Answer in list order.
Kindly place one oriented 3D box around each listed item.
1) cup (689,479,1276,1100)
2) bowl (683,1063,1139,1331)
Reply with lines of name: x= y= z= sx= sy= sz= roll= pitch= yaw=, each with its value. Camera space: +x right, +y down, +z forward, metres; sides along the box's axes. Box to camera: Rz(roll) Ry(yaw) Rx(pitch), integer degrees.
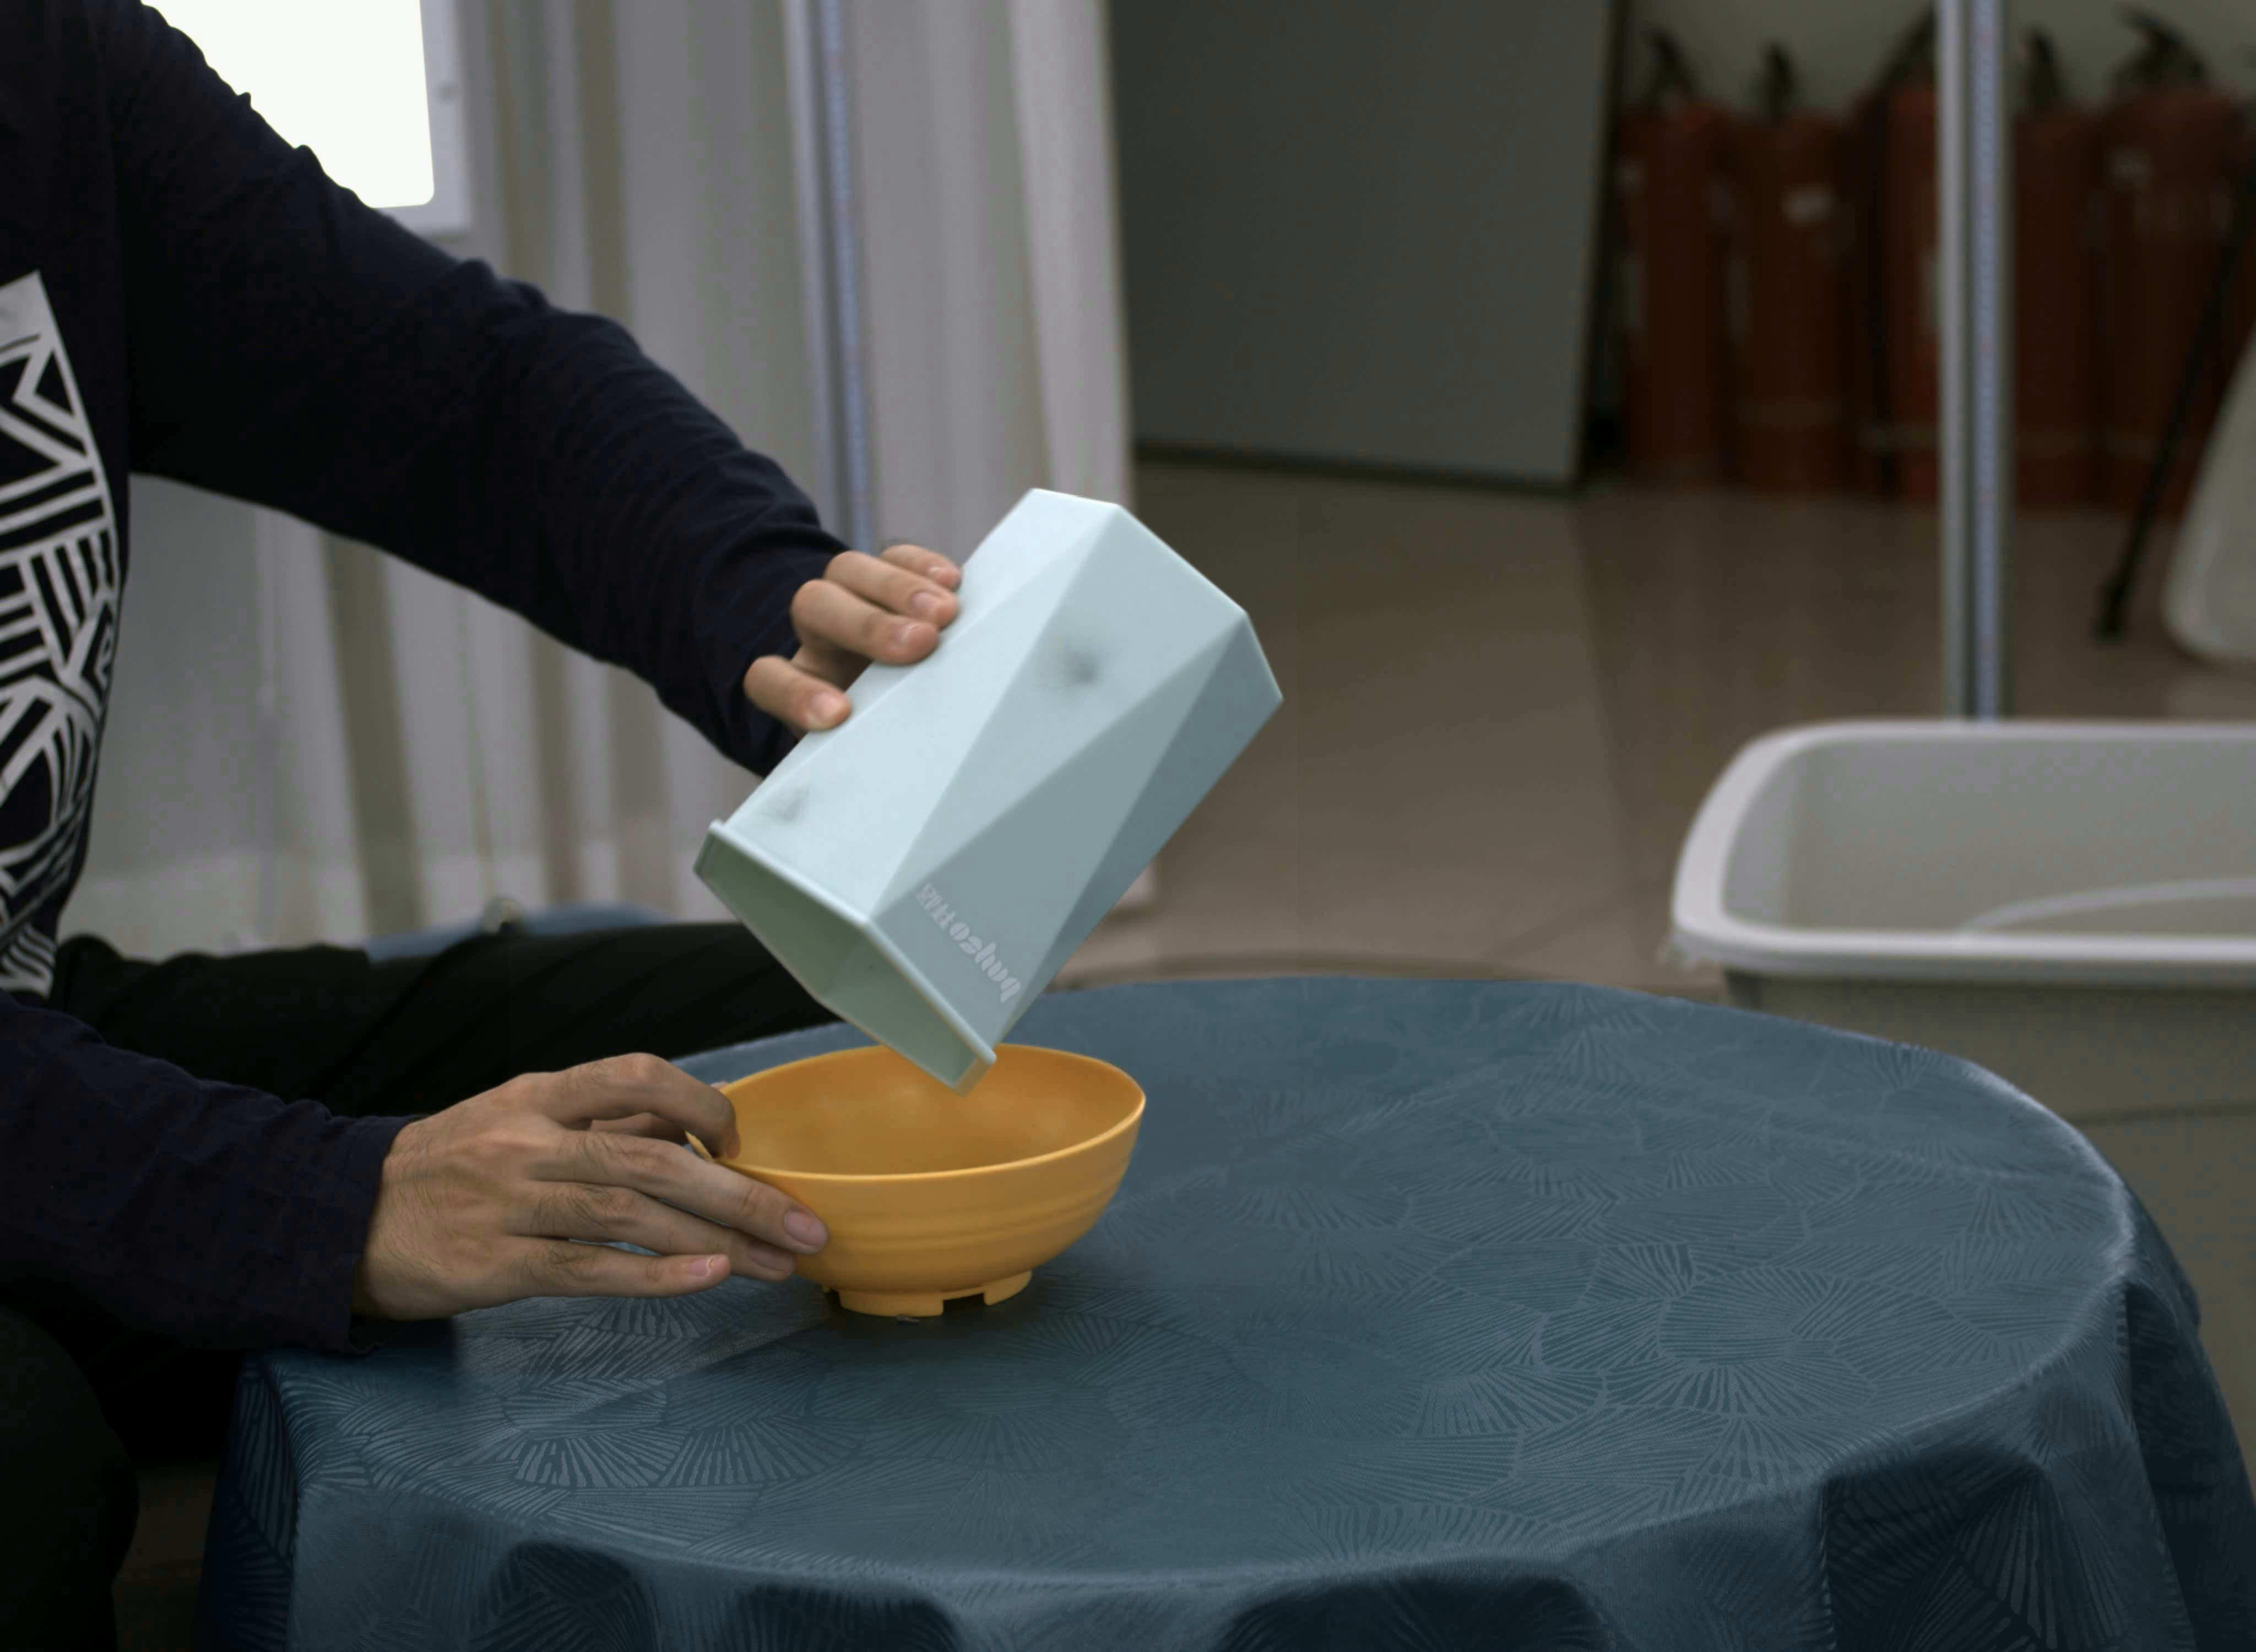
cup: x=-0.042 y=-0.017 z=1.690 sx=0.162 sy=0.130 sz=0.116 roll=-50 pitch=25 yaw=-13
bowl: x=-0.065 y=0.120 z=1.690 sx=0.143 sy=0.061 sz=0.145 roll=-5 pitch=11 yaw=0
